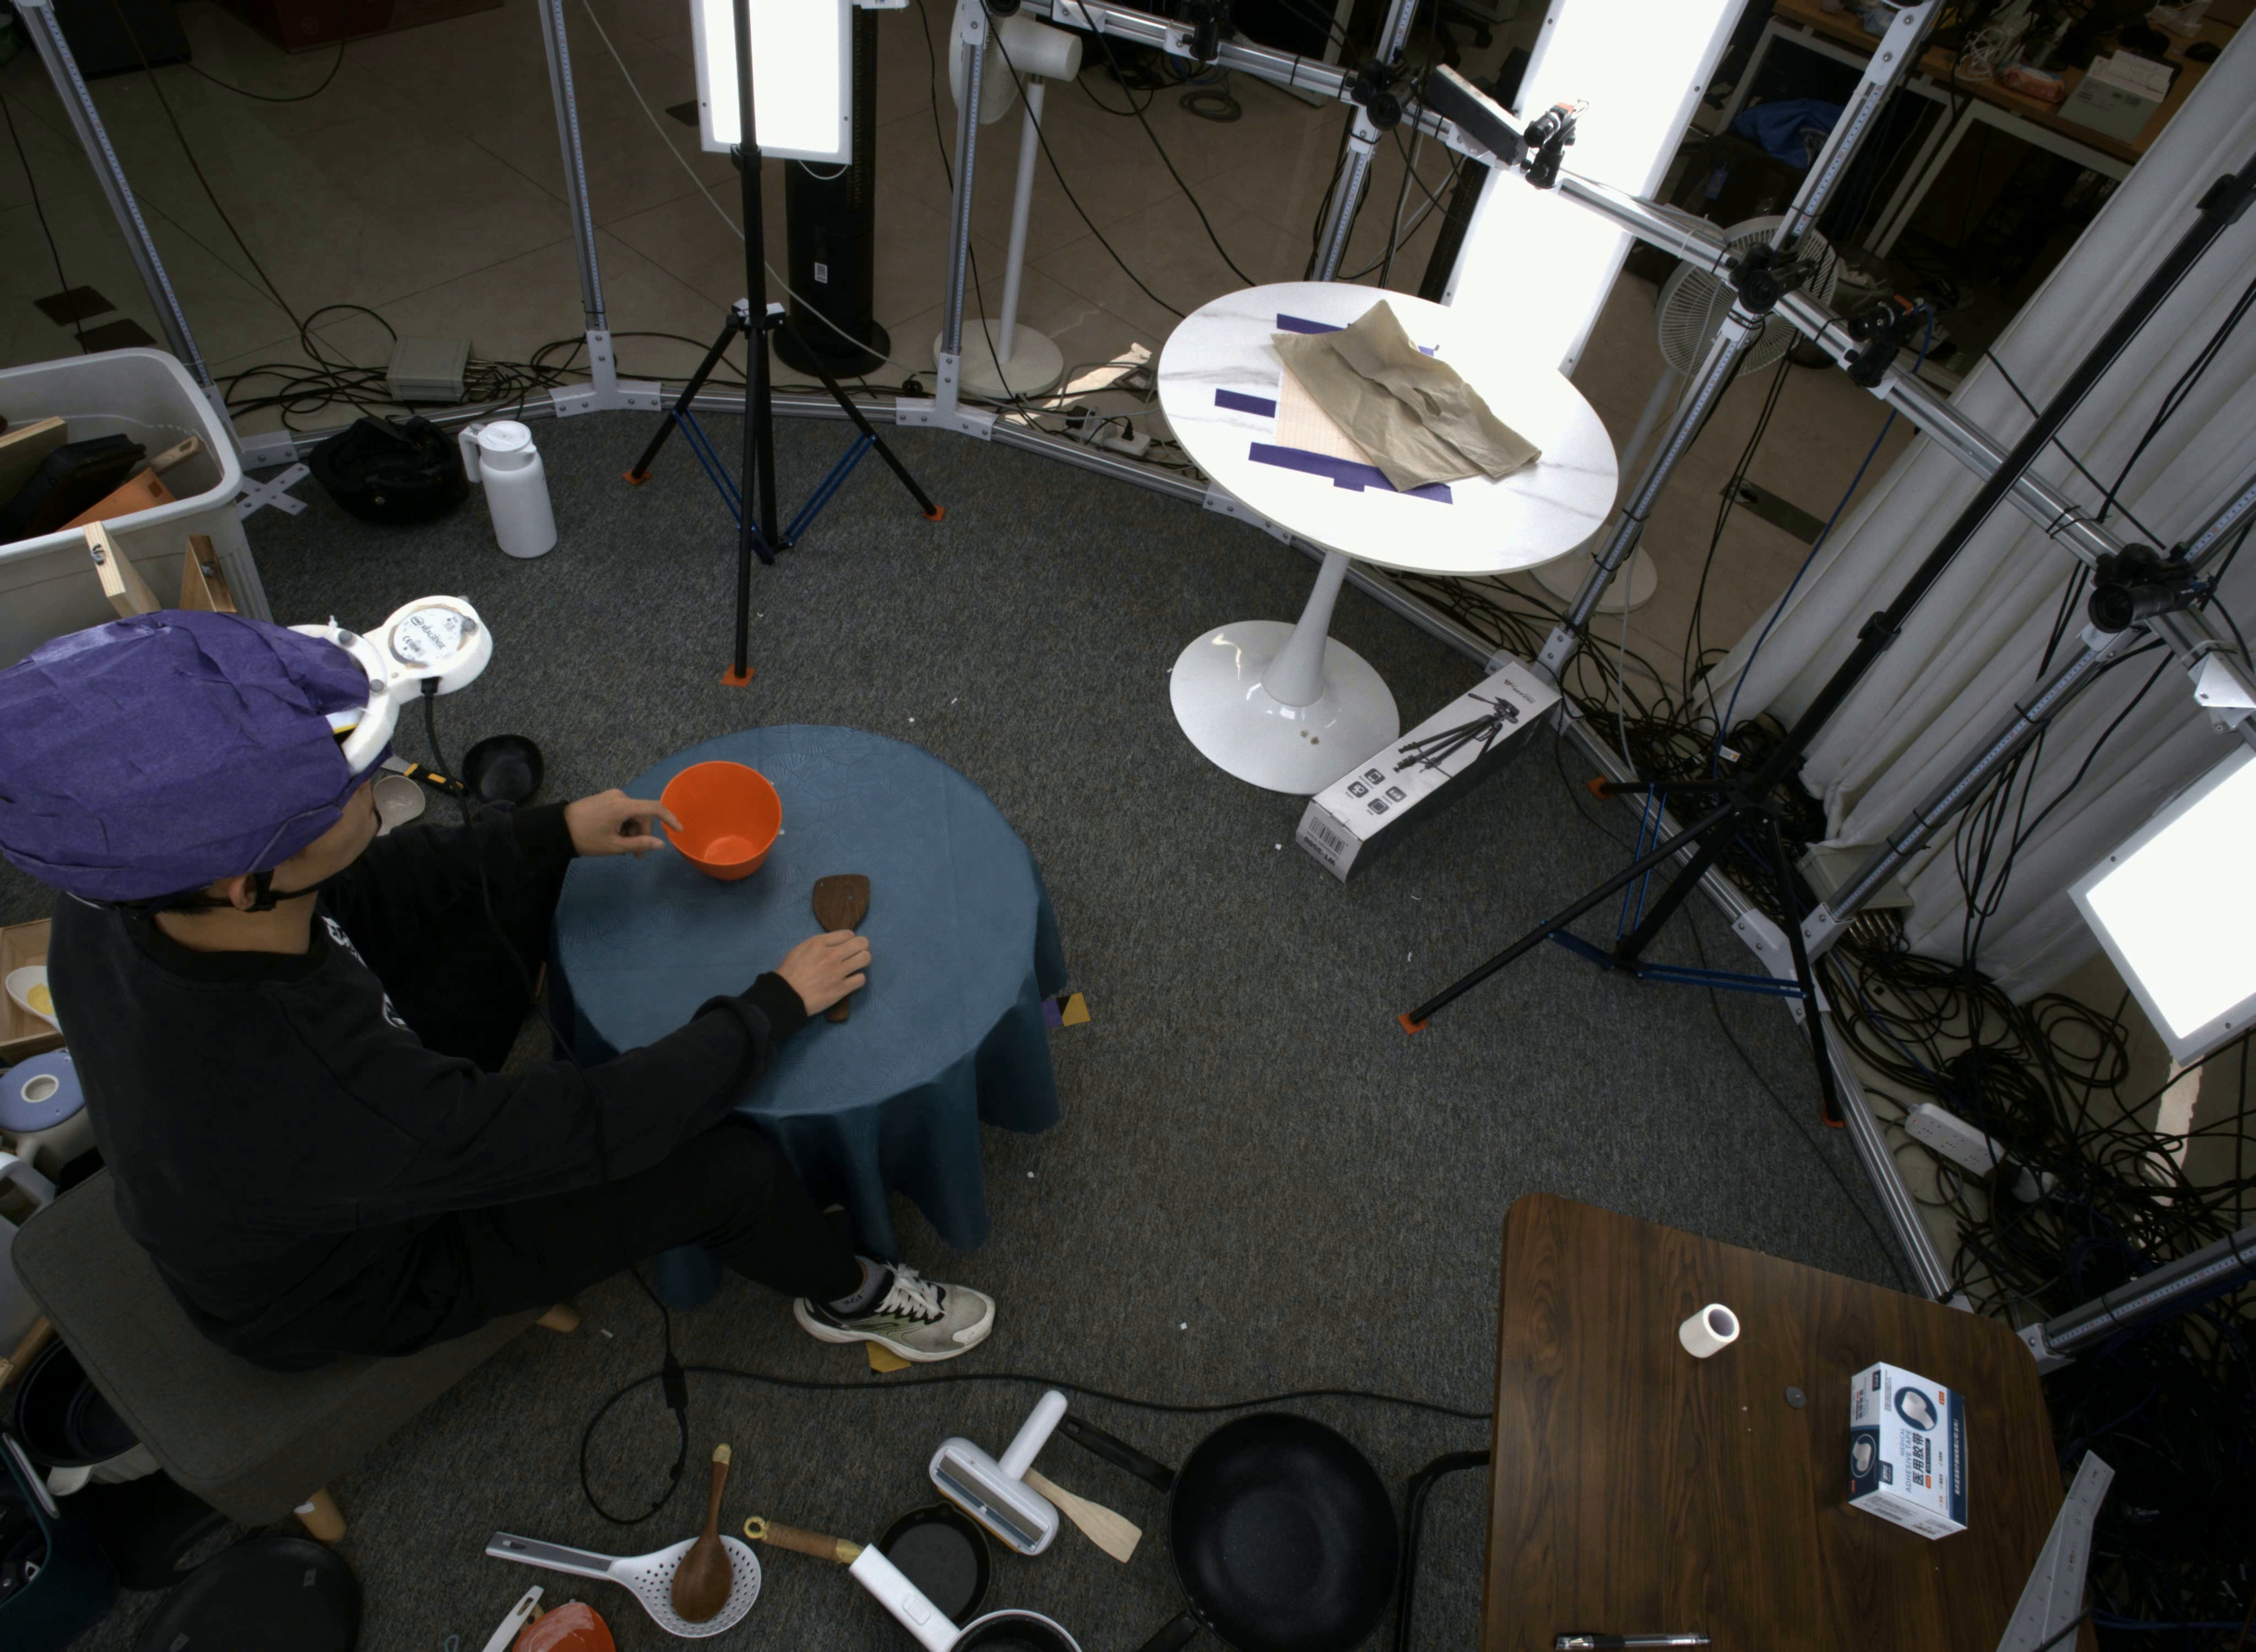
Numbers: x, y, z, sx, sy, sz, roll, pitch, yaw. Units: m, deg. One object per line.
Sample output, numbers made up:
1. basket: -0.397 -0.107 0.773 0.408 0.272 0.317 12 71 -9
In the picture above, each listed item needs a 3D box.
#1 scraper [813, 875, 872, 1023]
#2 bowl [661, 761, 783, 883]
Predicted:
1. scraper: -0.360 0.150 1.626 0.075 0.011 0.207 -3 56 -6
2. bowl: -0.511 0.006 1.637 0.148 0.107 0.145 8 51 -8
